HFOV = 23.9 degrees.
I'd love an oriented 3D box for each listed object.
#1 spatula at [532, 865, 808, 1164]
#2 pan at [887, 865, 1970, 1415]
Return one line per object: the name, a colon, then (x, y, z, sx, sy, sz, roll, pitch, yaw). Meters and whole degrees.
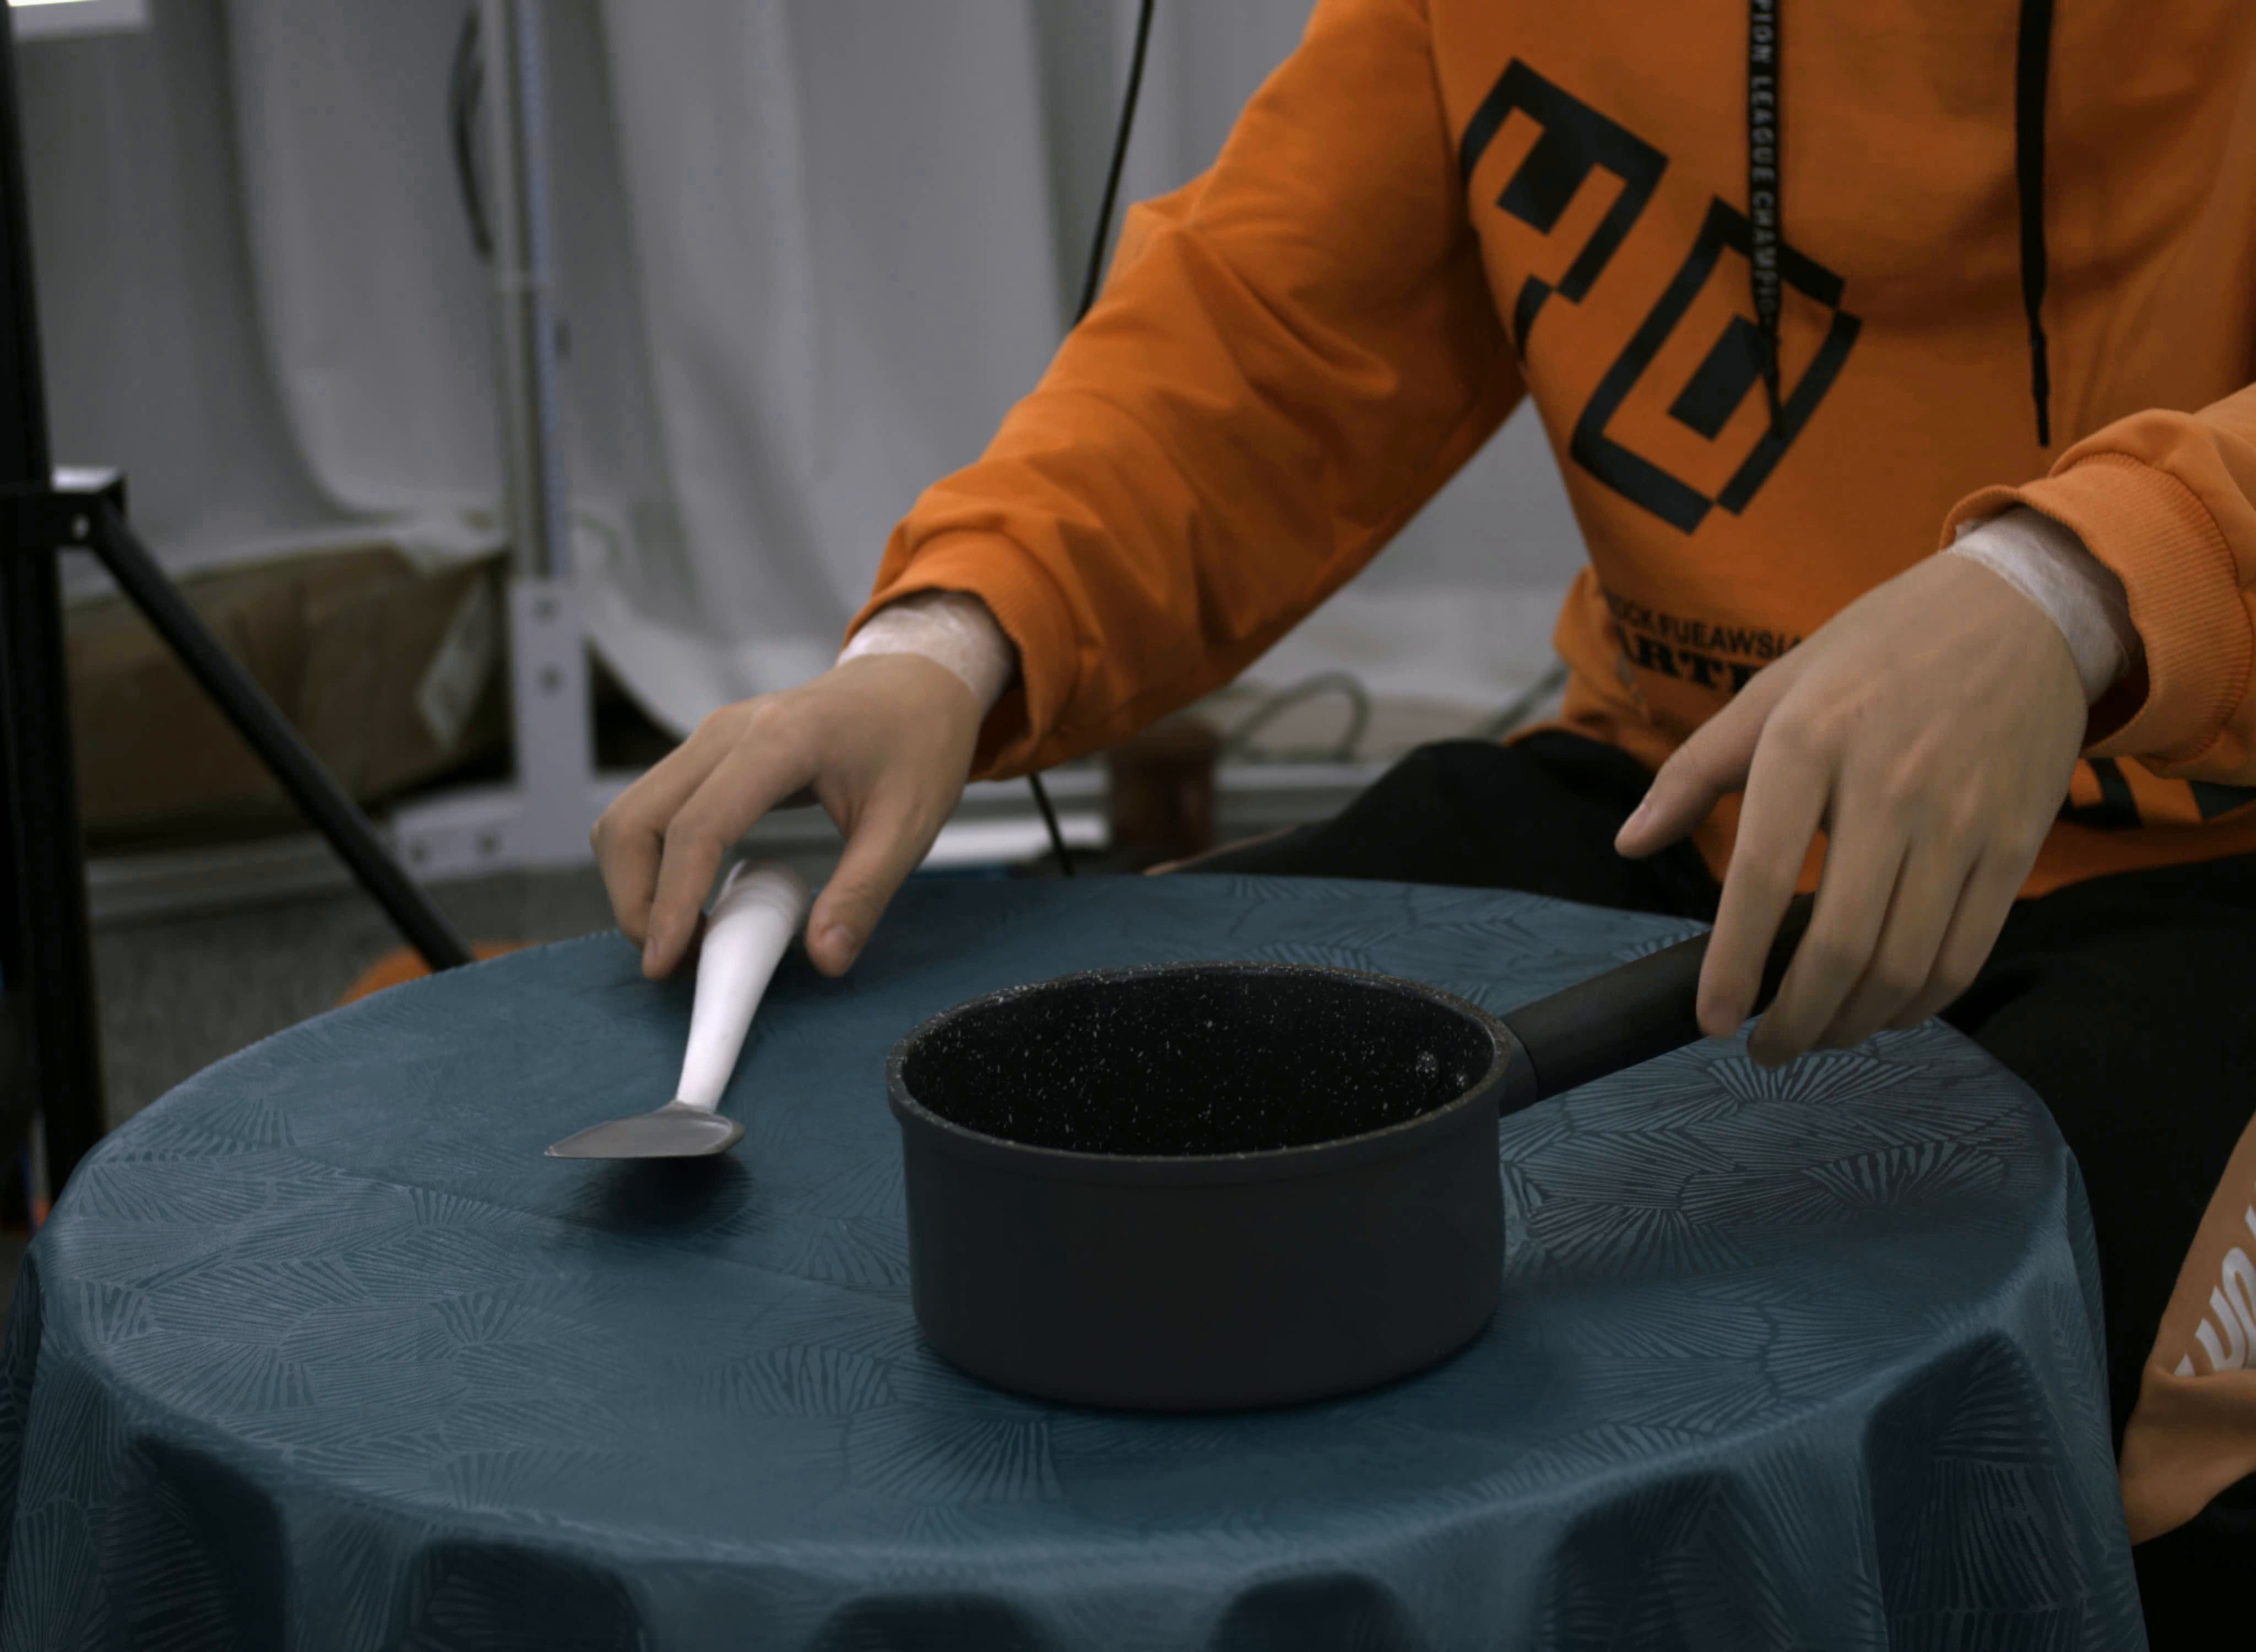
spatula: (-0.134, 0.066, 1.670, 0.058, 0.032, 0.287, 3, 16, 4)
pan: (0.091, 0.082, 1.478, 0.322, 0.086, 0.175, -11, 18, -22)
